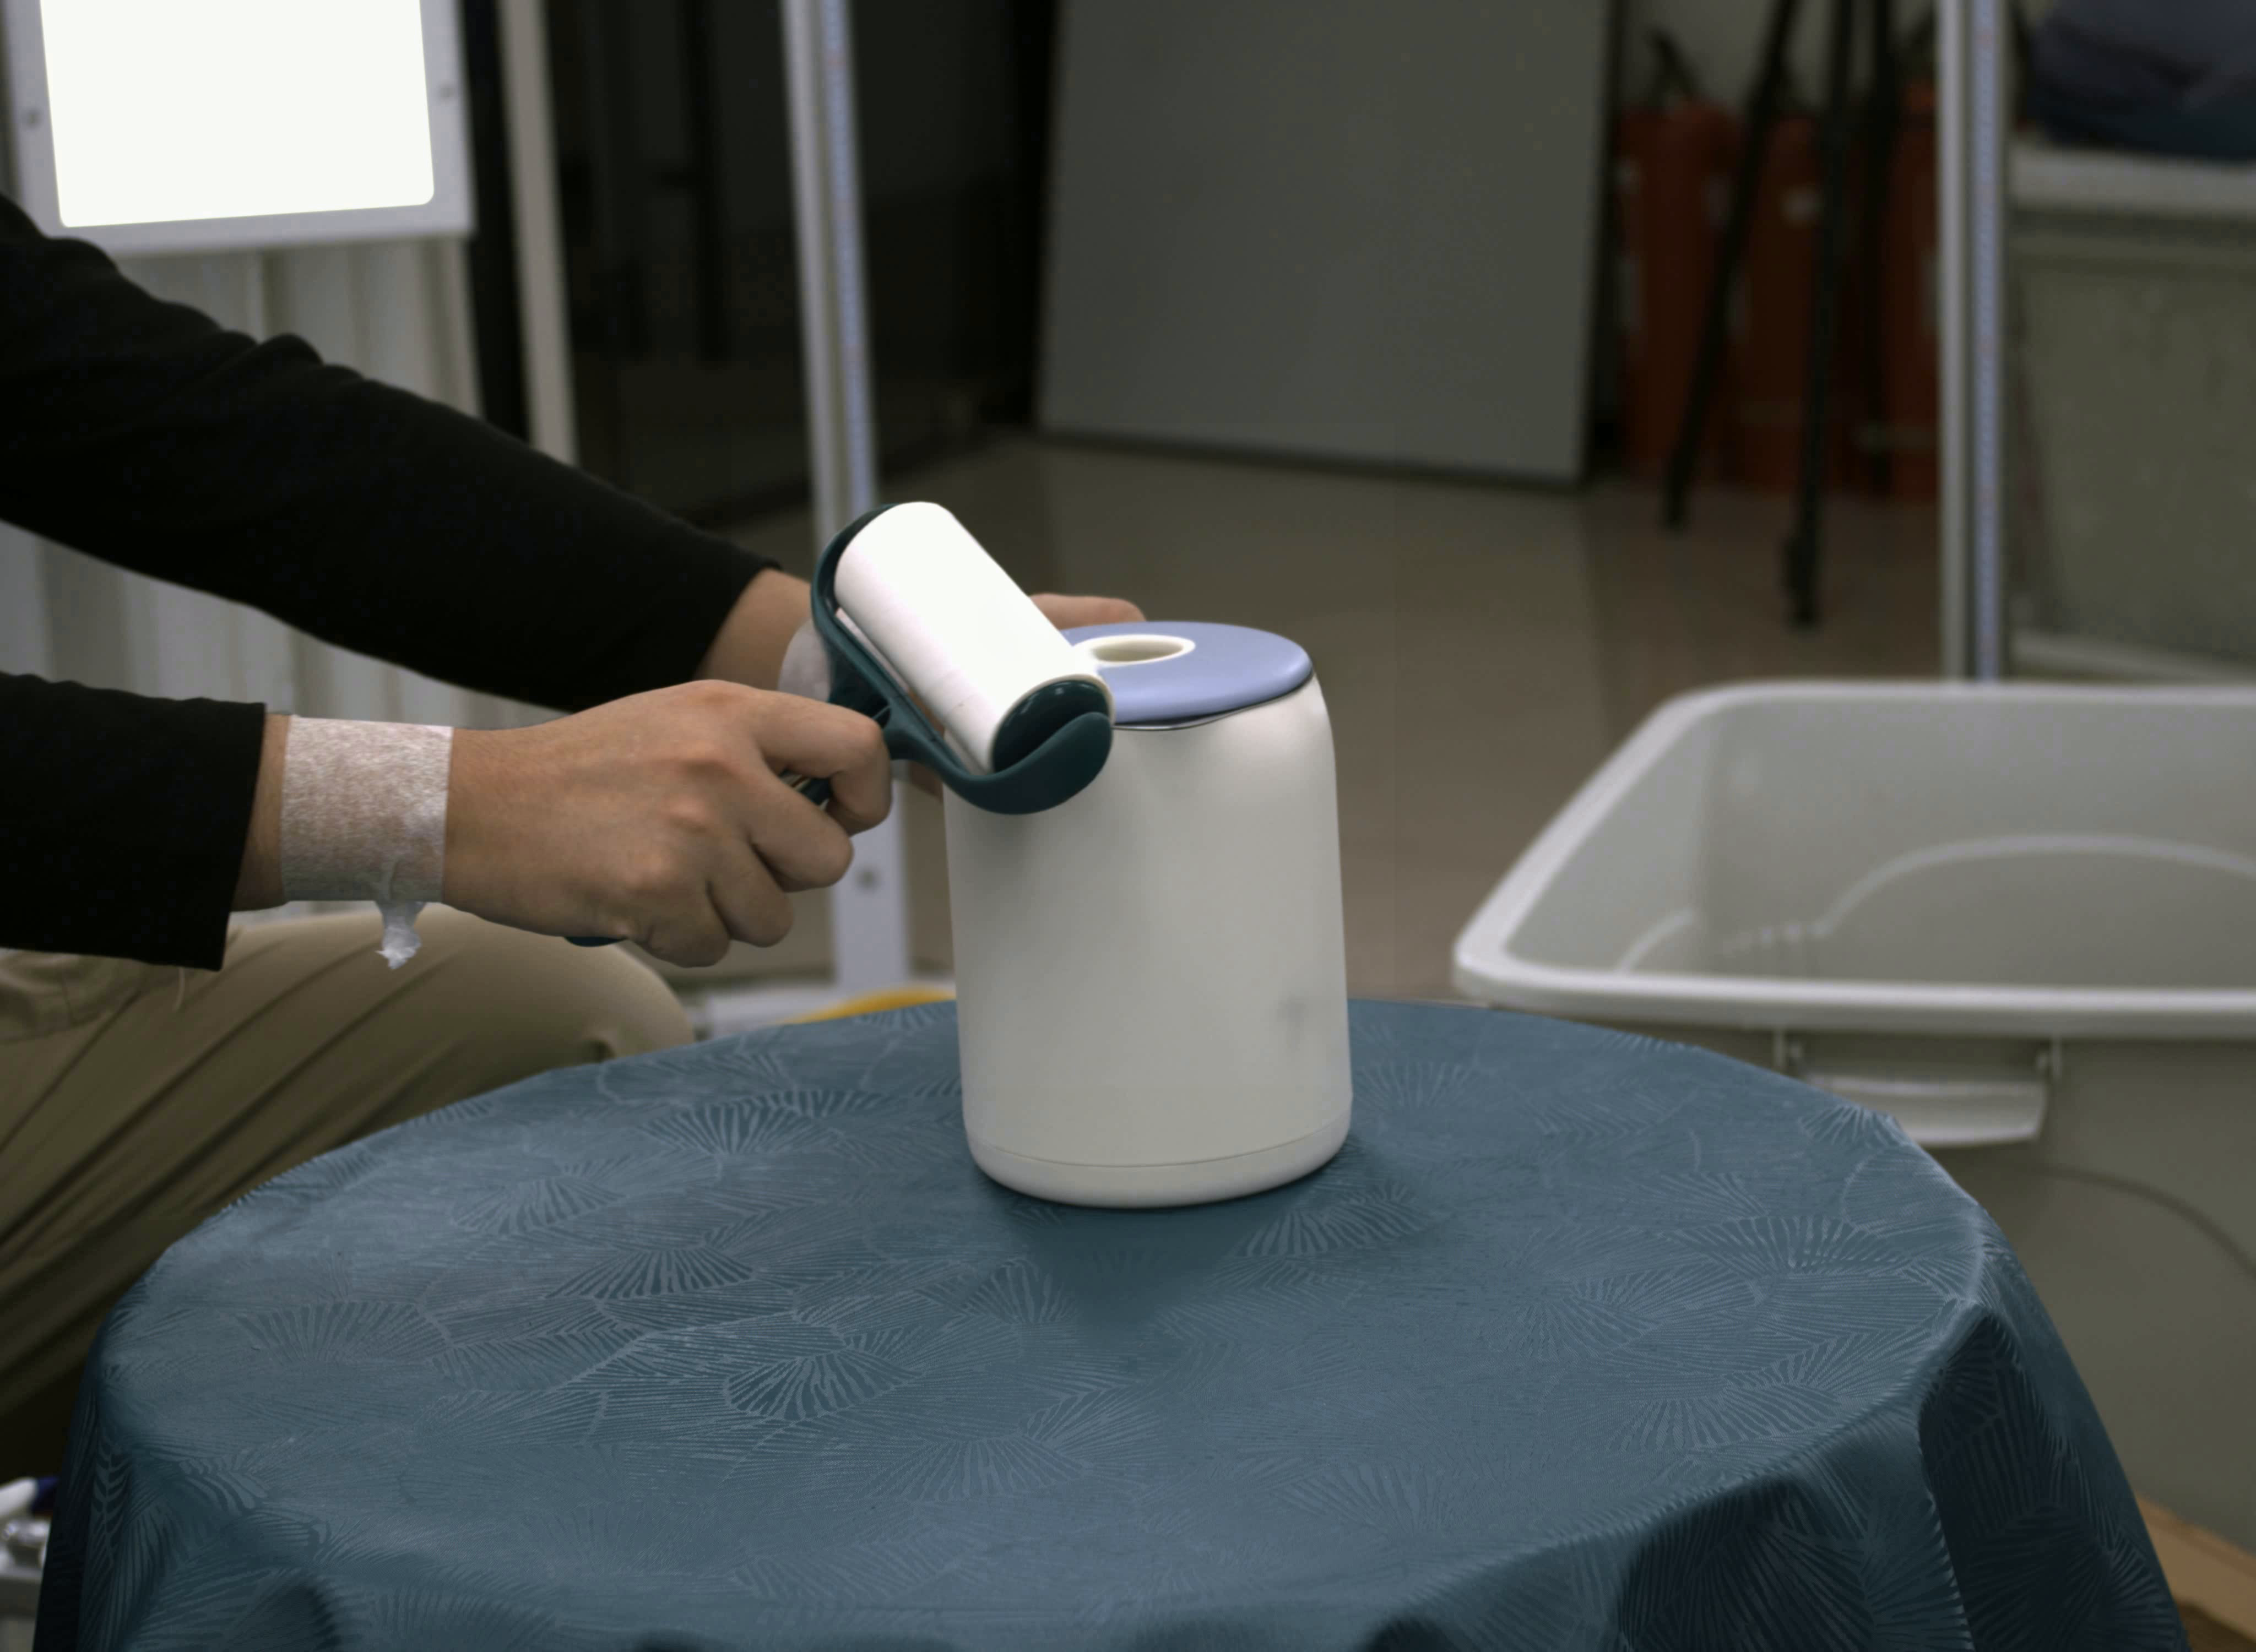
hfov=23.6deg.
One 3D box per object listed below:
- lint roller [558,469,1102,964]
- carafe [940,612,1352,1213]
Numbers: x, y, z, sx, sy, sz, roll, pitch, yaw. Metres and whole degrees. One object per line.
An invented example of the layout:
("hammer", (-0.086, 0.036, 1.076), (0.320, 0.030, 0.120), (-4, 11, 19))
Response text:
("lint roller", (-0.107, -0.022, 1.678), (0.178, 0.048, 0.136), (-33, 47, -10))
("carafe", (0.000, 0.023, 1.809), (0.130, 0.184, 0.192), (-6, 12, -12))
